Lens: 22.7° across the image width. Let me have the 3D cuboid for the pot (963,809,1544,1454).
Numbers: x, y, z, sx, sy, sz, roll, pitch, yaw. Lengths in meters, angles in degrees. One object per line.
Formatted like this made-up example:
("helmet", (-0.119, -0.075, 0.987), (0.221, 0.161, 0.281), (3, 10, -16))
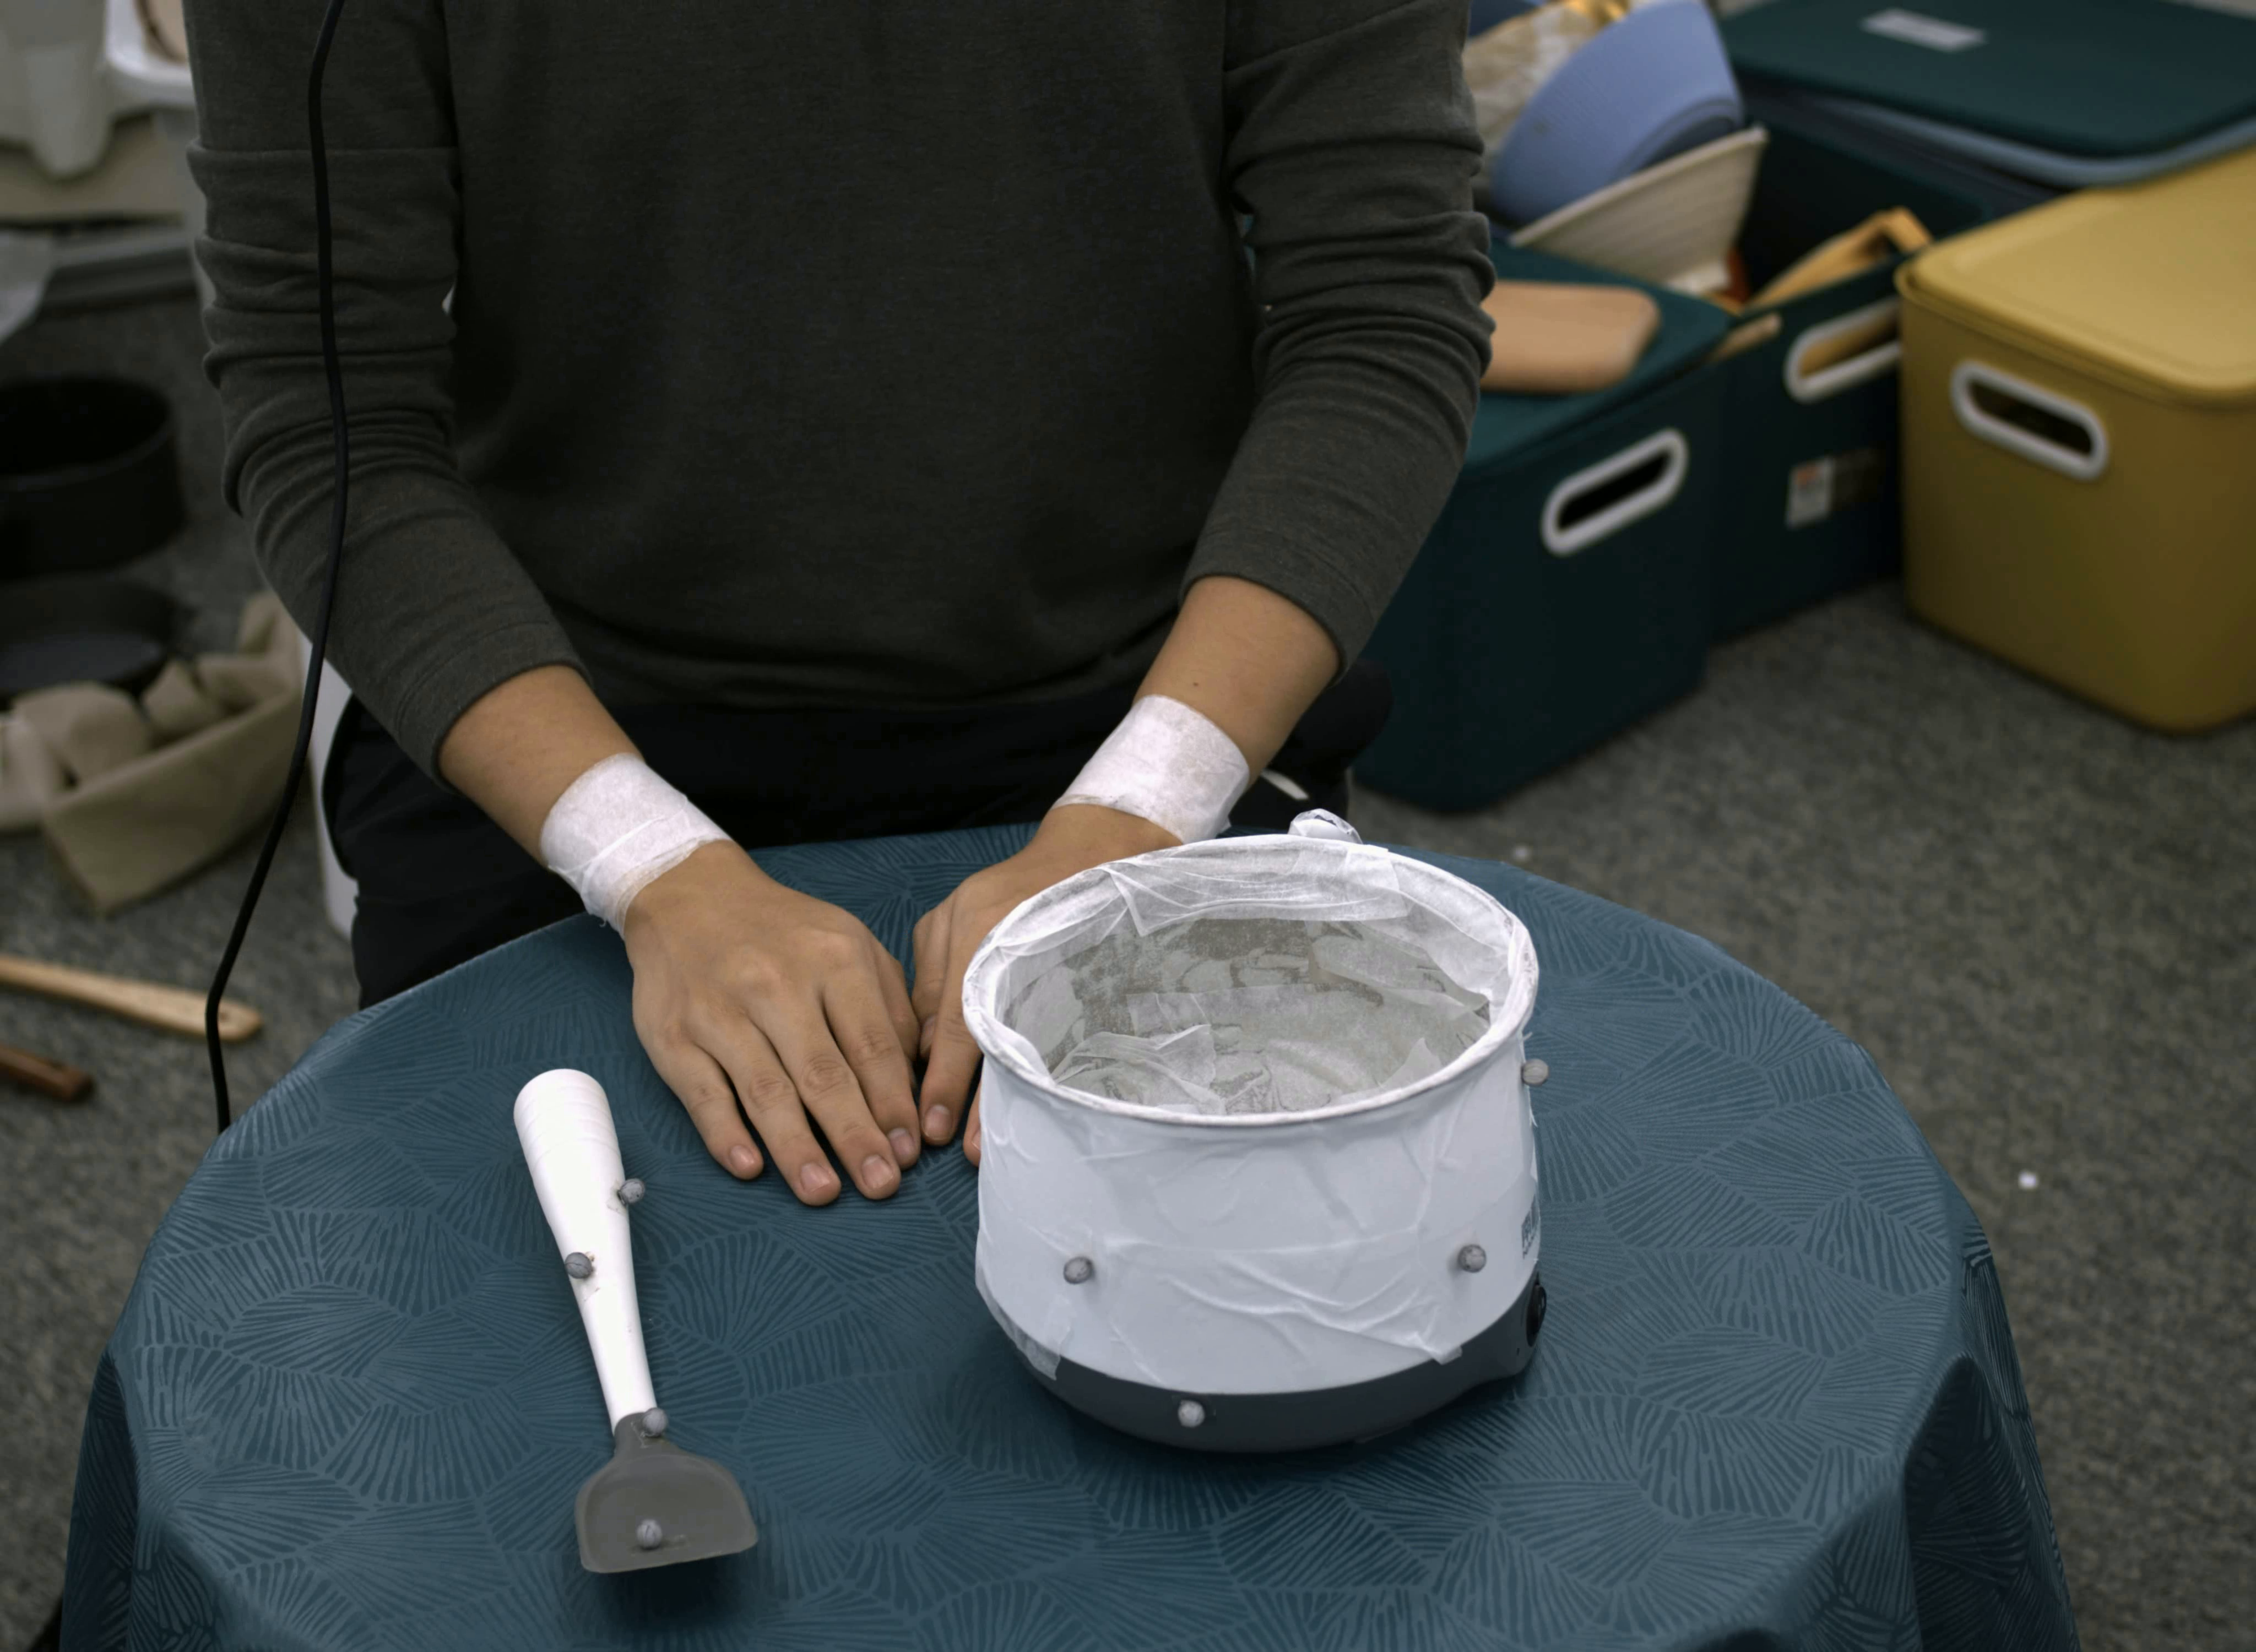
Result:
("pot", (0.046, 0.088, 1.775), (0.177, 0.135, 0.237), (4, 27, 12))

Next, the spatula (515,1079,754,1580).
("spatula", (-0.162, 0.162, 1.764), (0.058, 0.032, 0.291), (-4, 26, -11))
